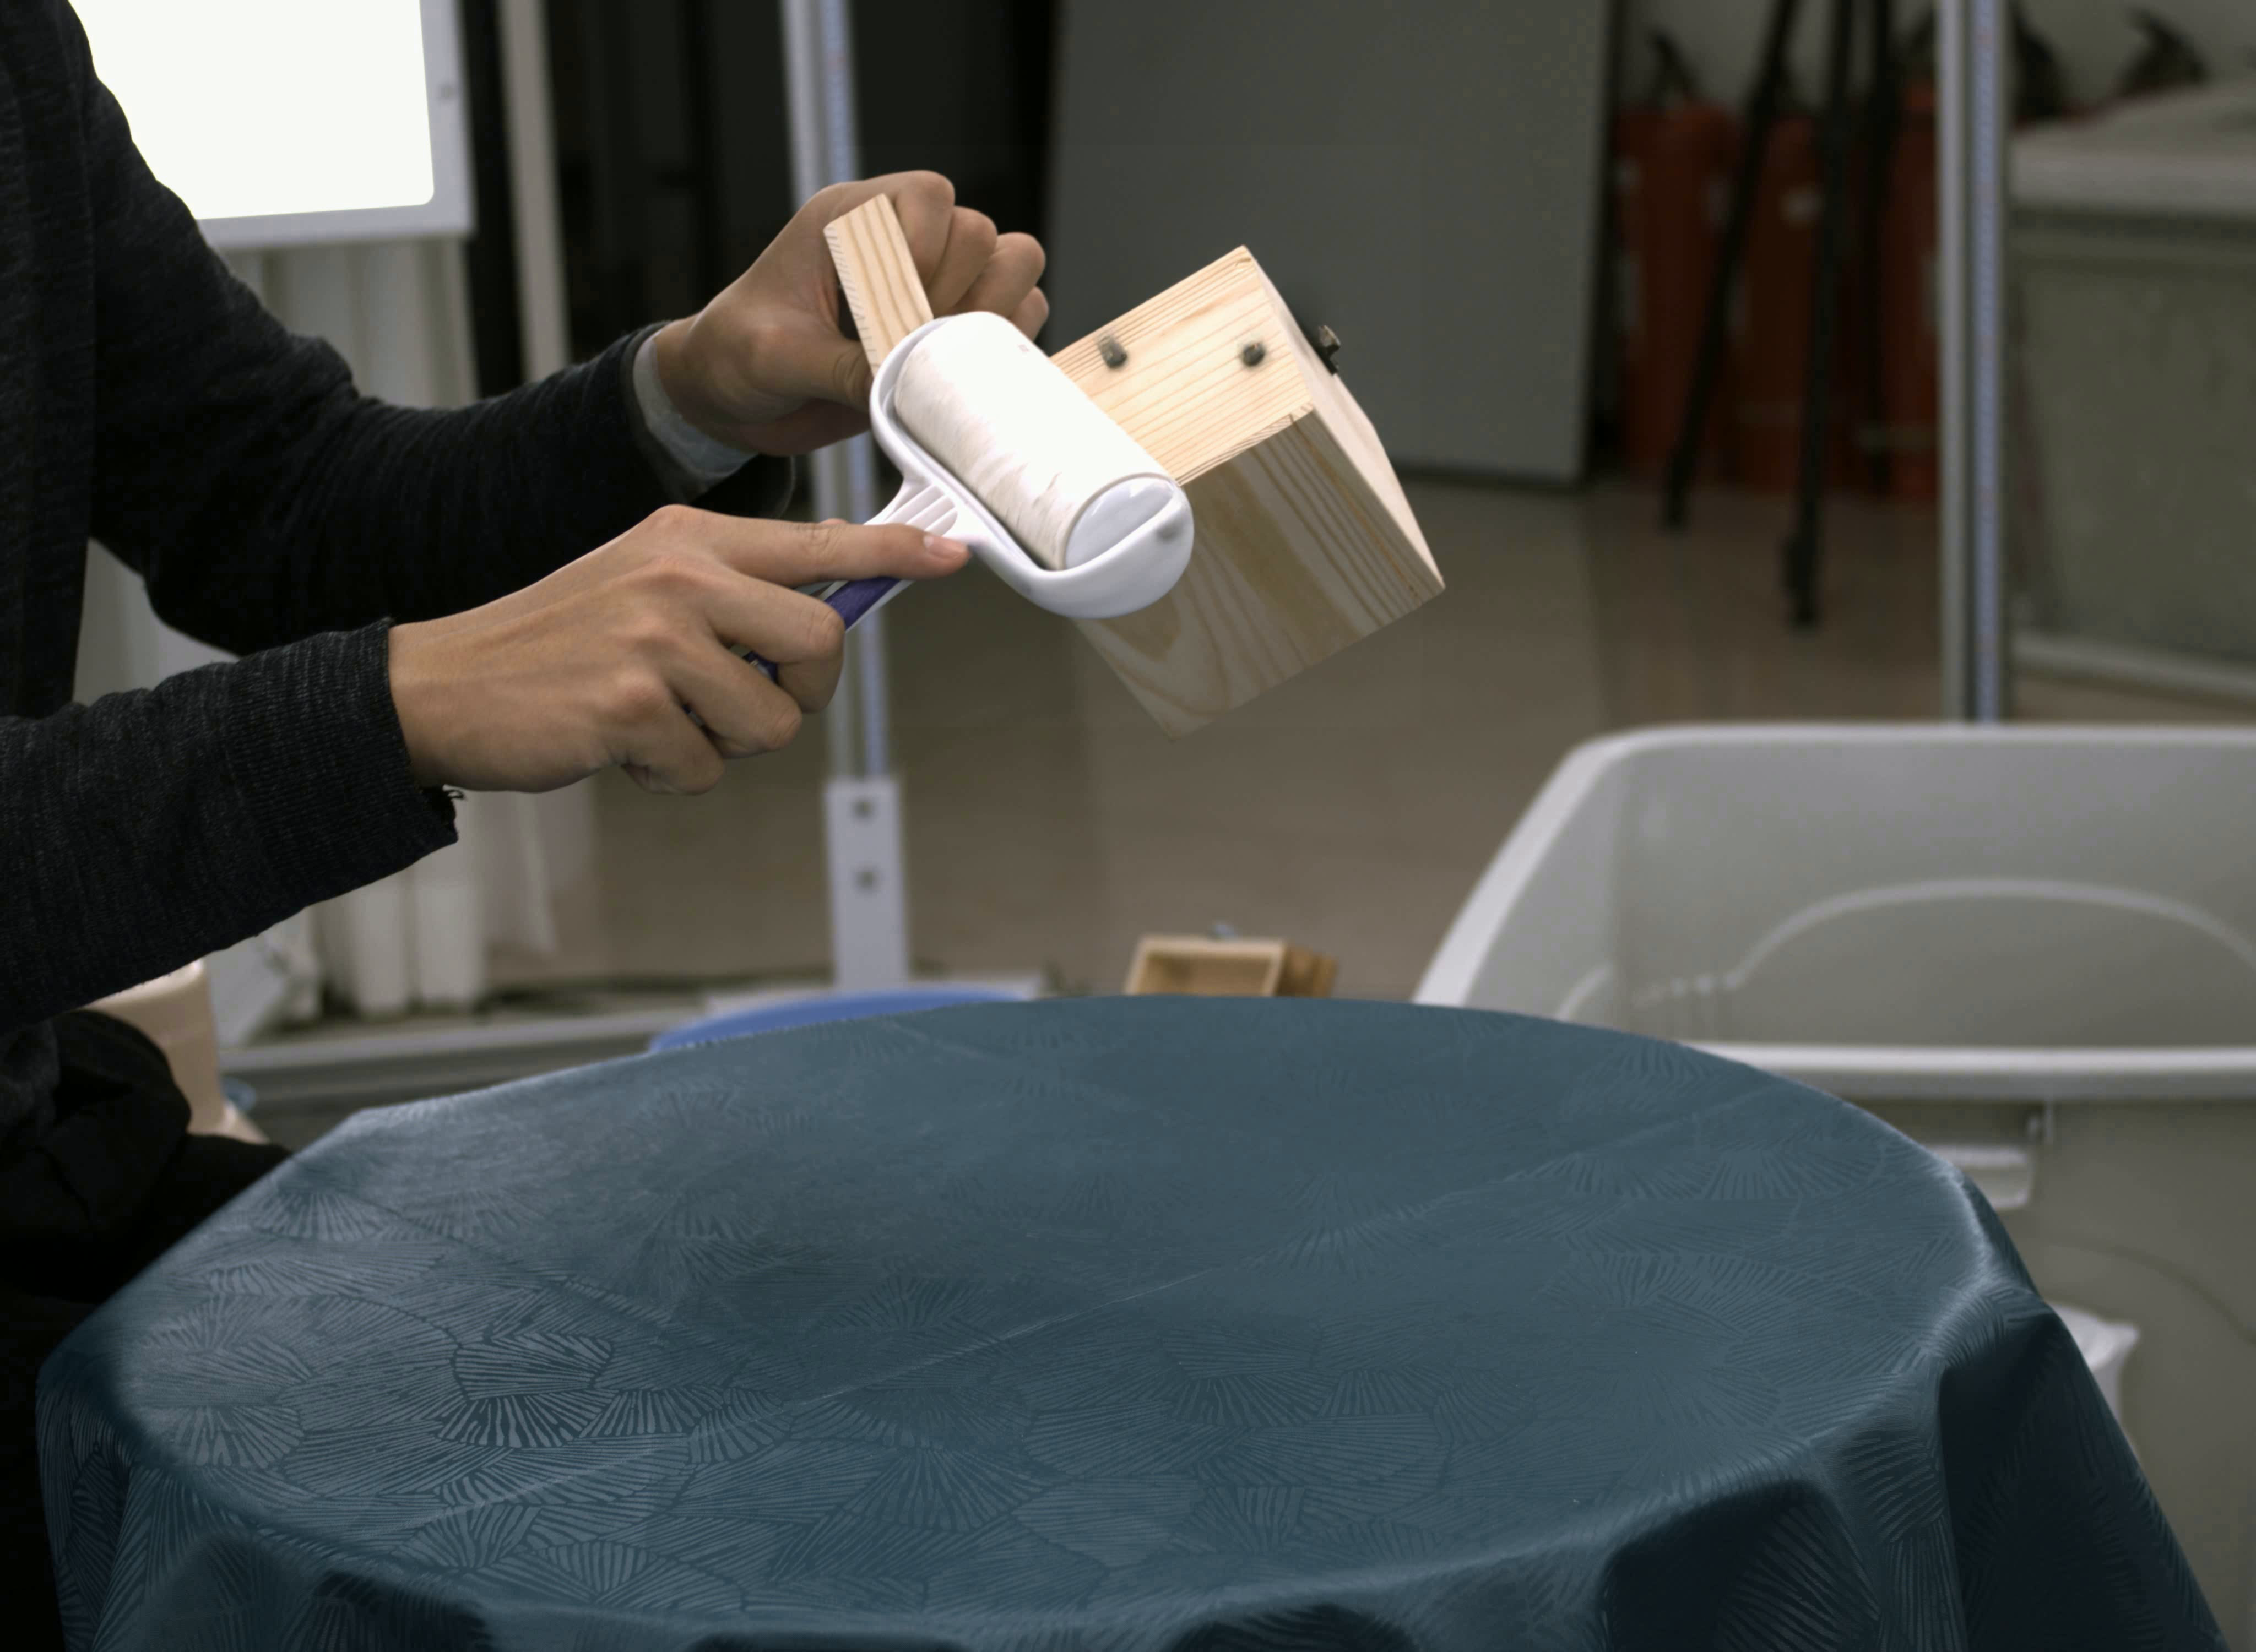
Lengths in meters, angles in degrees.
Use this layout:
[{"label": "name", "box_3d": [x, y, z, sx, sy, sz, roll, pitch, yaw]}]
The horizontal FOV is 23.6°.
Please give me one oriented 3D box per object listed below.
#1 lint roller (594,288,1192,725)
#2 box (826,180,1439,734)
[{"label": "lint roller", "box_3d": [-0.082, -0.088, 1.587, 0.178, 0.050, 0.134, -26, 45, -16]}, {"label": "box", "box_3d": [0.001, -0.139, 1.702, 0.133, 0.101, 0.187, -30, 47, 10]}]
